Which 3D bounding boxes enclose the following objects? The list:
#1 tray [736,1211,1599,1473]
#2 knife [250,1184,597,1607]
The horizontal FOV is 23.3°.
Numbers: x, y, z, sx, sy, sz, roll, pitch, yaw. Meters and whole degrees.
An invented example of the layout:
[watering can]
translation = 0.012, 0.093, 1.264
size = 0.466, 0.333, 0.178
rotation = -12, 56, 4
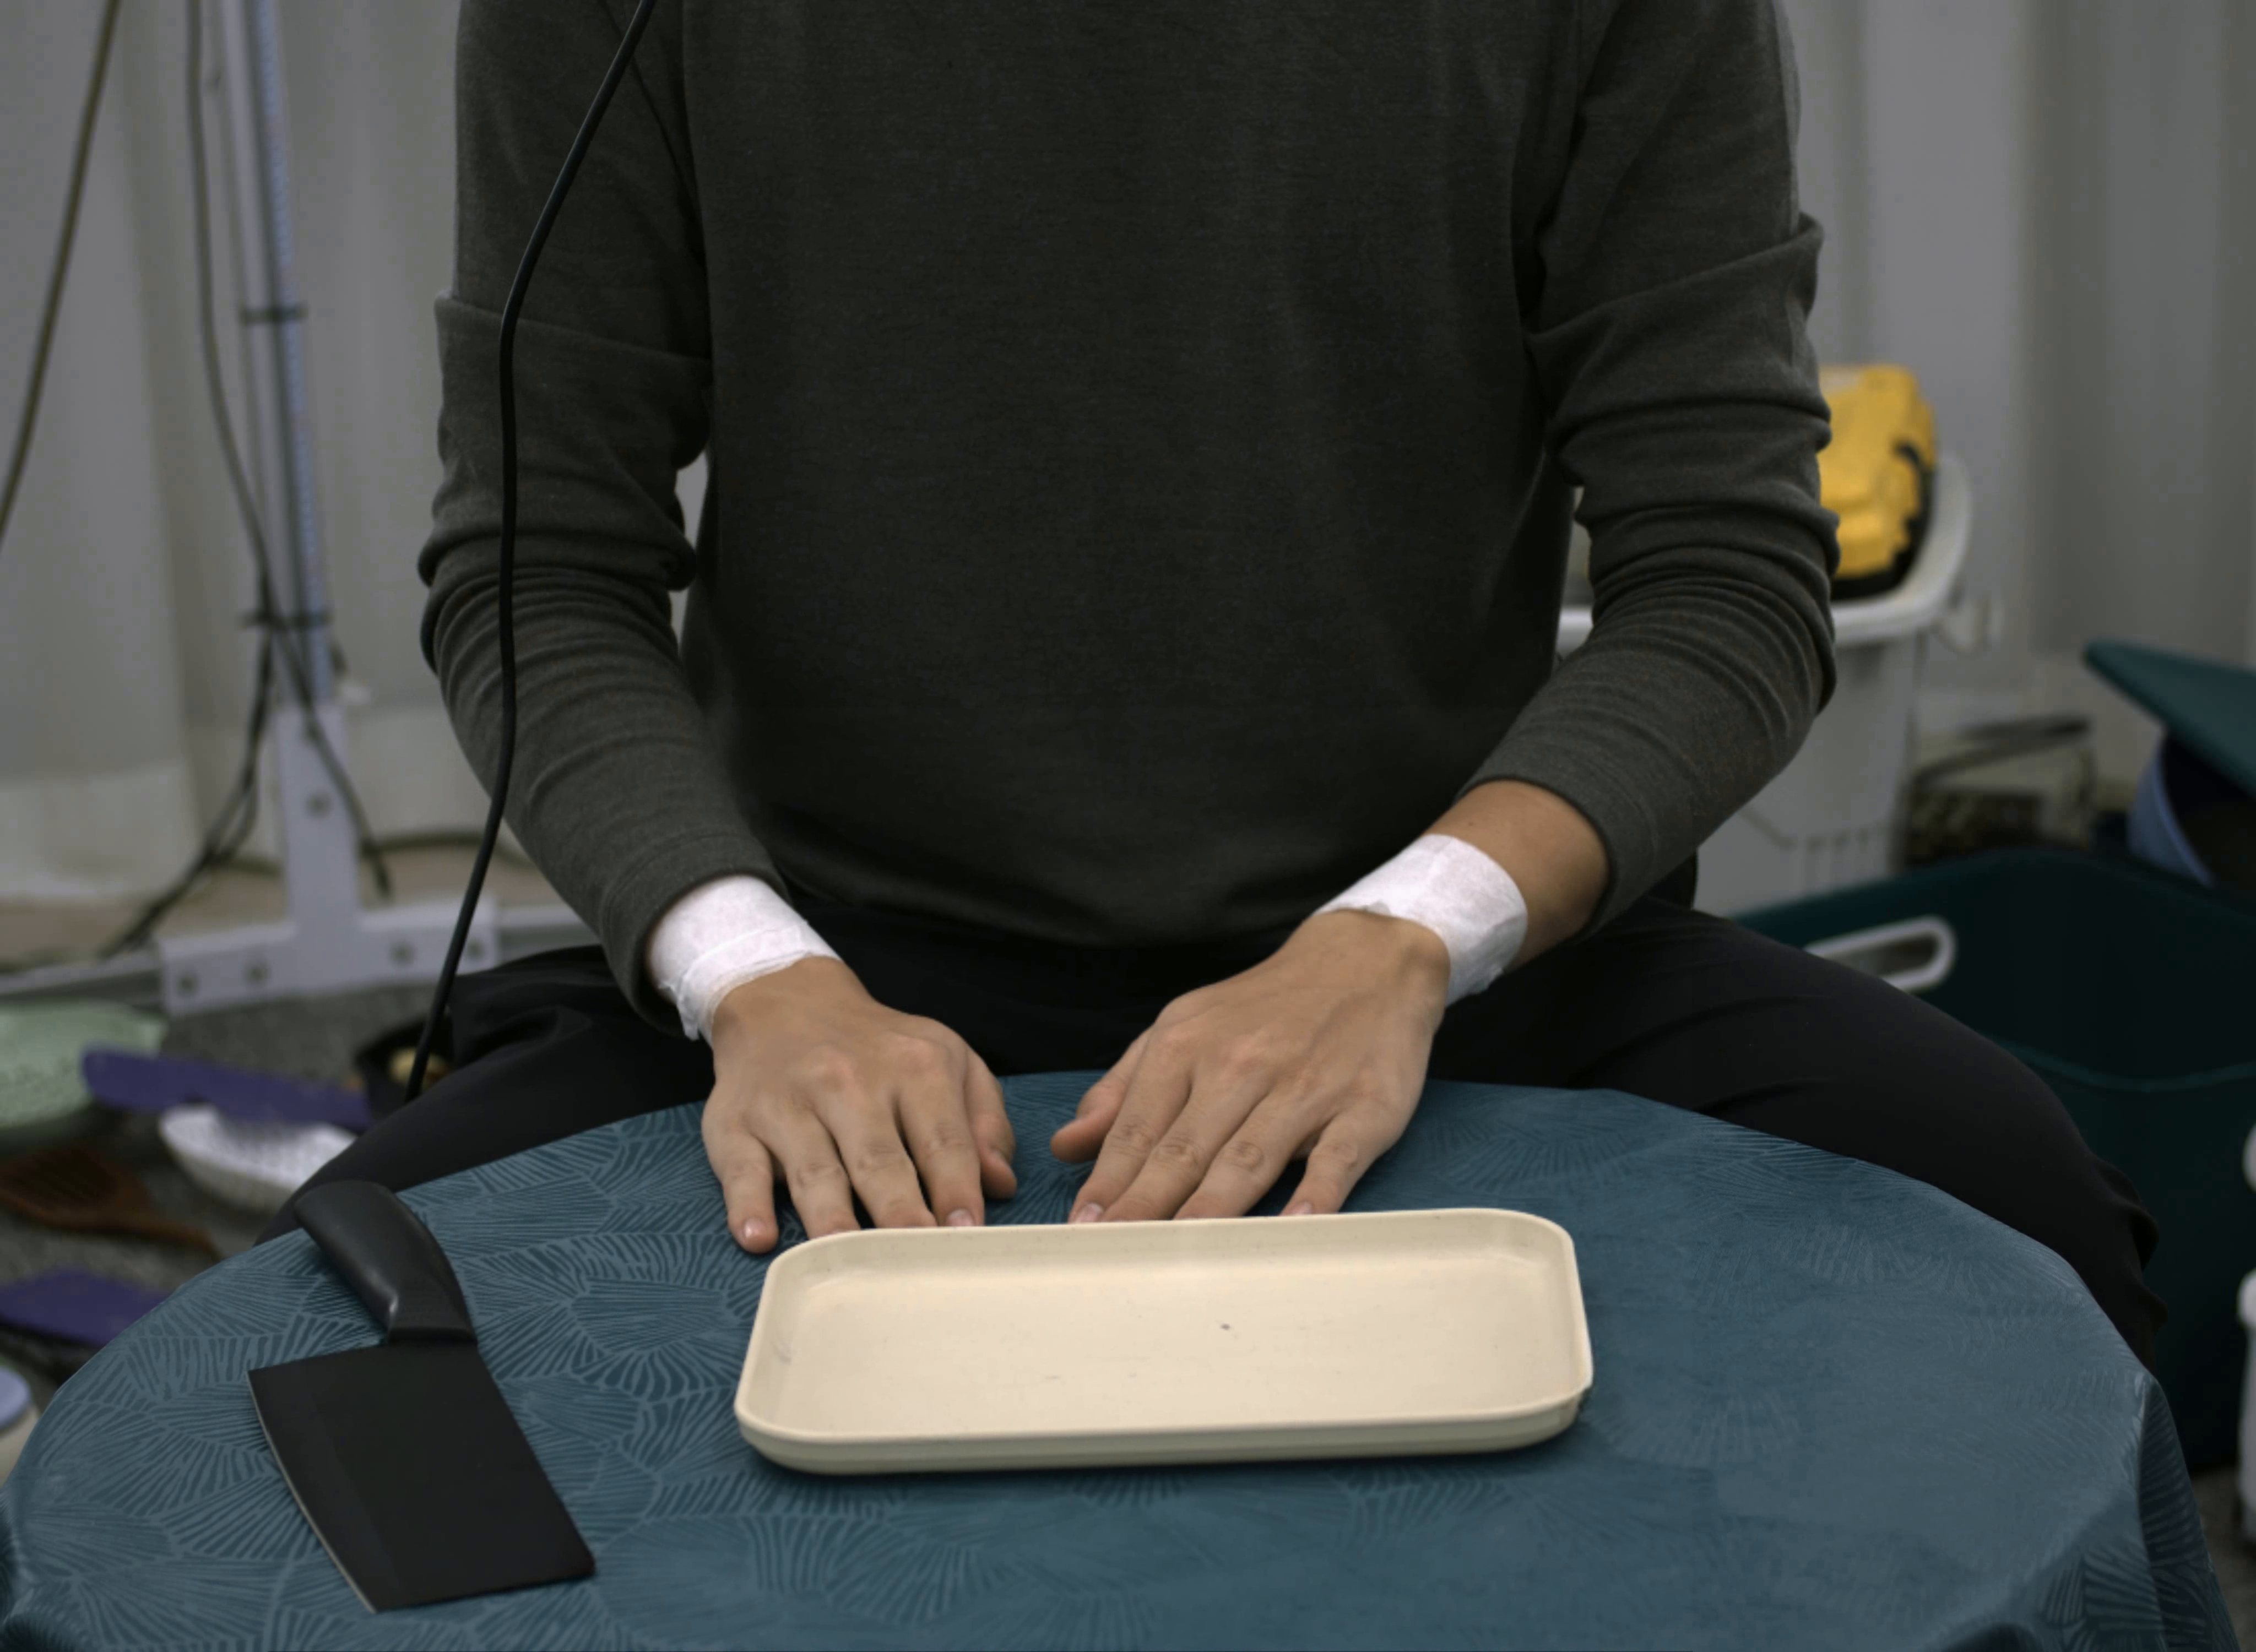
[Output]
[tray]
translation = 0.012, 0.148, 1.557
size = 0.239, 0.017, 0.172
rotation = -2, 14, 2
[knife]
translation = -0.211, 0.160, 1.560
size = 0.080, 0.021, 0.305
rotation = -7, 17, -12
